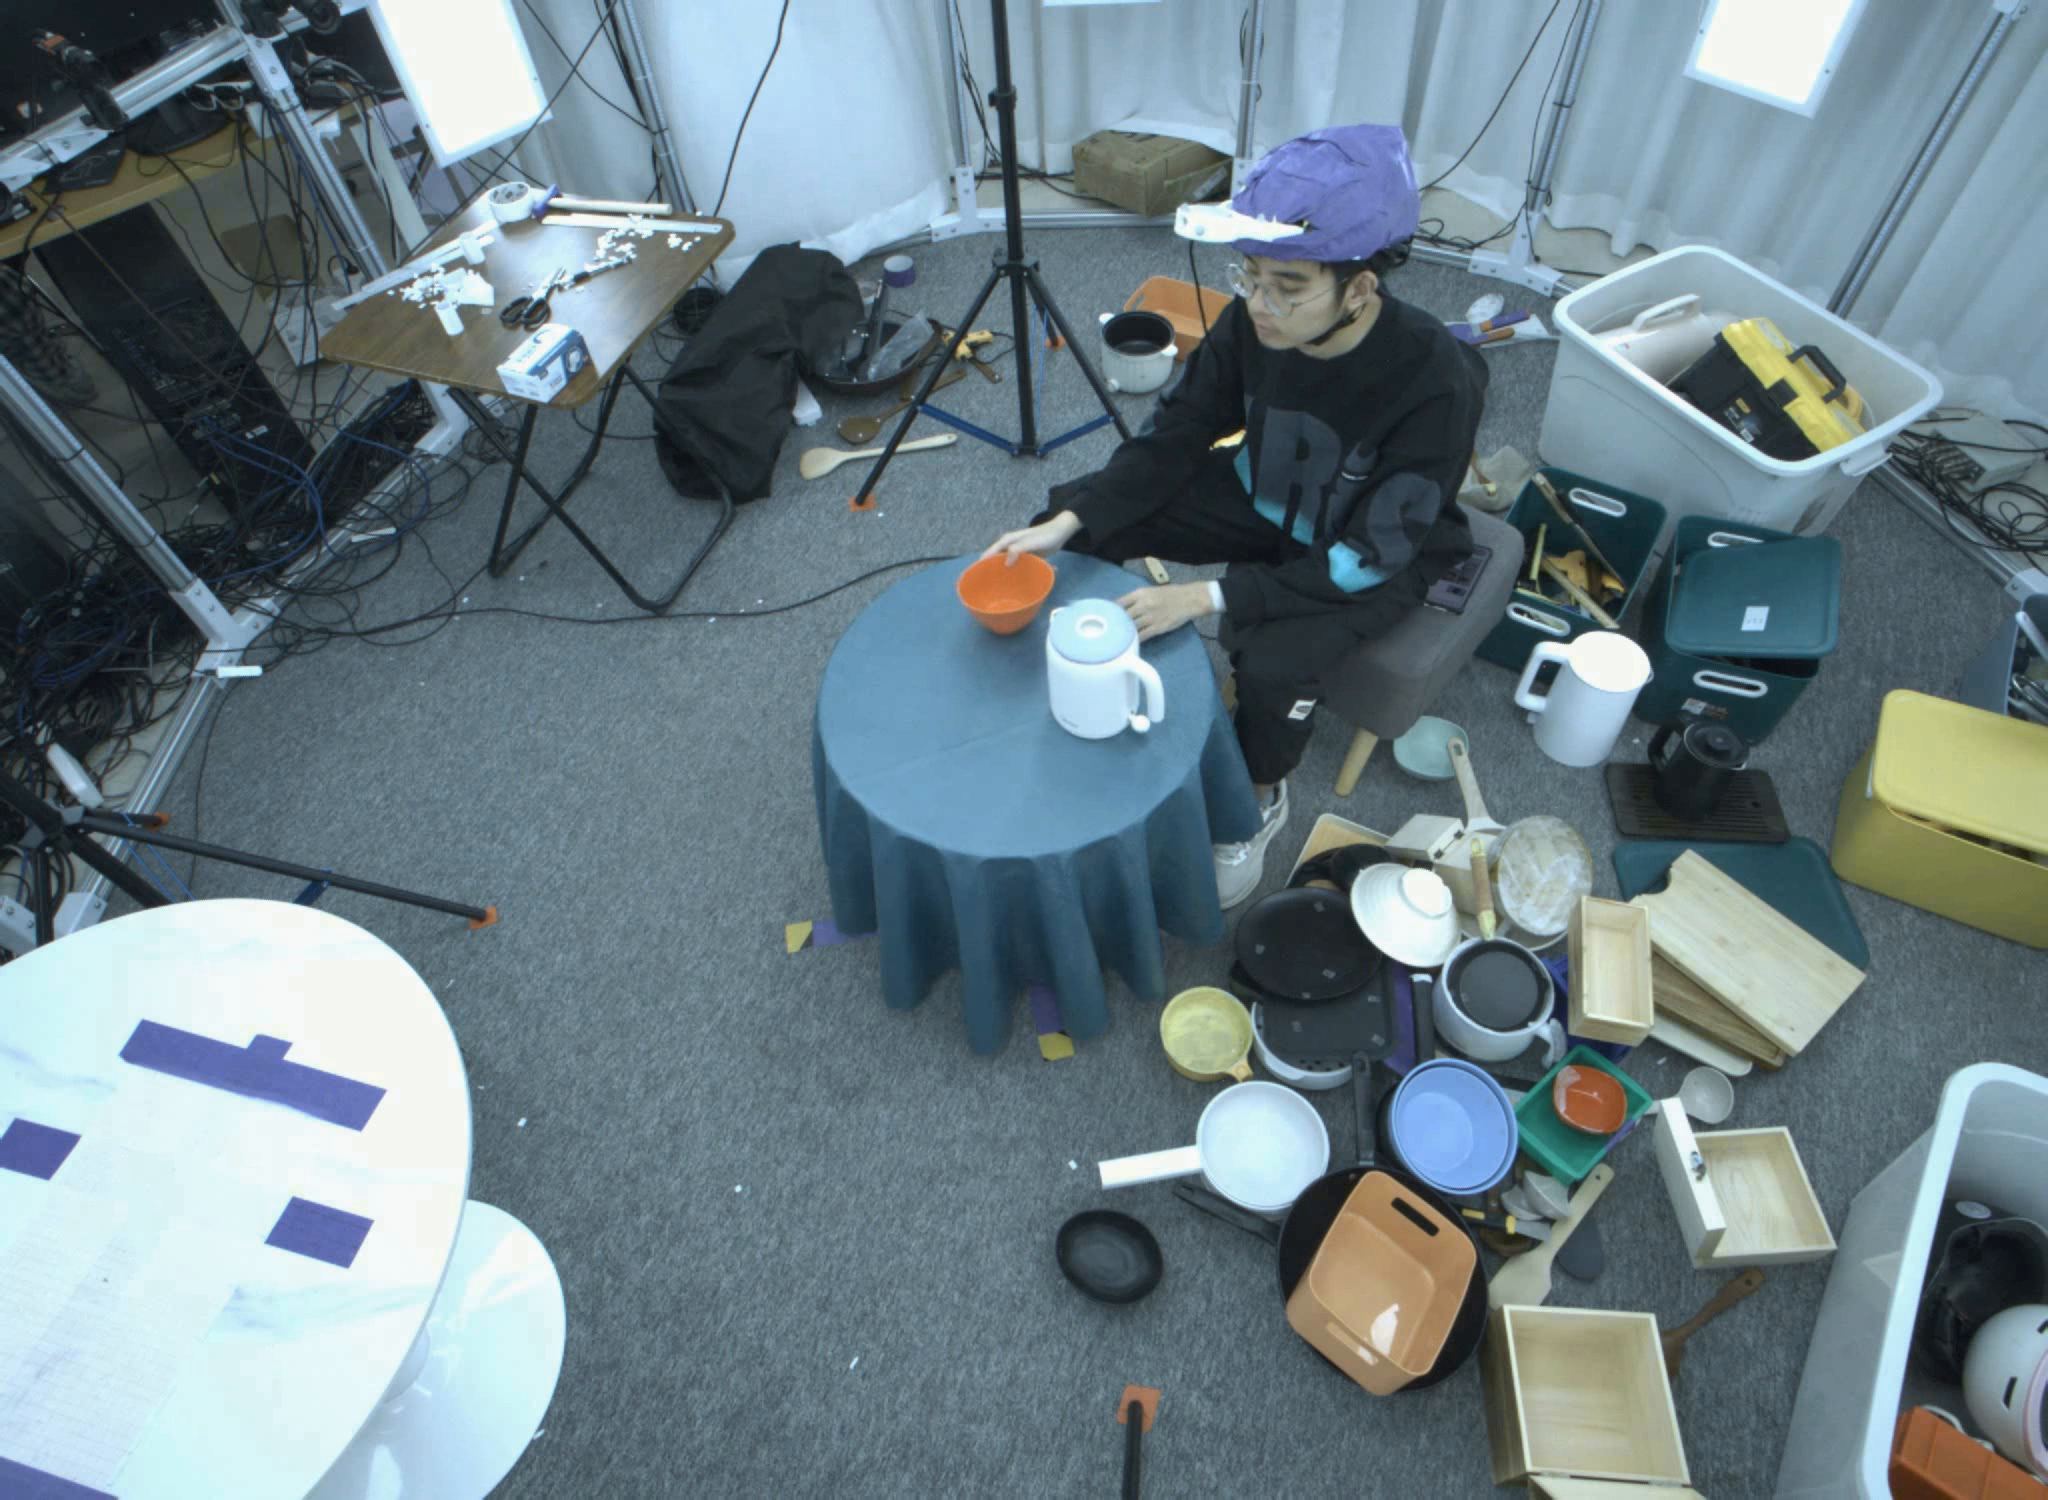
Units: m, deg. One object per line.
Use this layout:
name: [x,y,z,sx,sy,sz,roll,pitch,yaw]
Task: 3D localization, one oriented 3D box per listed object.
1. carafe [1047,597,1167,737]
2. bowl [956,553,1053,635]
carafe: [0.119,-0.106,1.749,0.188,0.184,0.133,30,63,19]
bowl: [-0.029,-0.226,1.873,0.148,0.106,0.146,0,55,2]
